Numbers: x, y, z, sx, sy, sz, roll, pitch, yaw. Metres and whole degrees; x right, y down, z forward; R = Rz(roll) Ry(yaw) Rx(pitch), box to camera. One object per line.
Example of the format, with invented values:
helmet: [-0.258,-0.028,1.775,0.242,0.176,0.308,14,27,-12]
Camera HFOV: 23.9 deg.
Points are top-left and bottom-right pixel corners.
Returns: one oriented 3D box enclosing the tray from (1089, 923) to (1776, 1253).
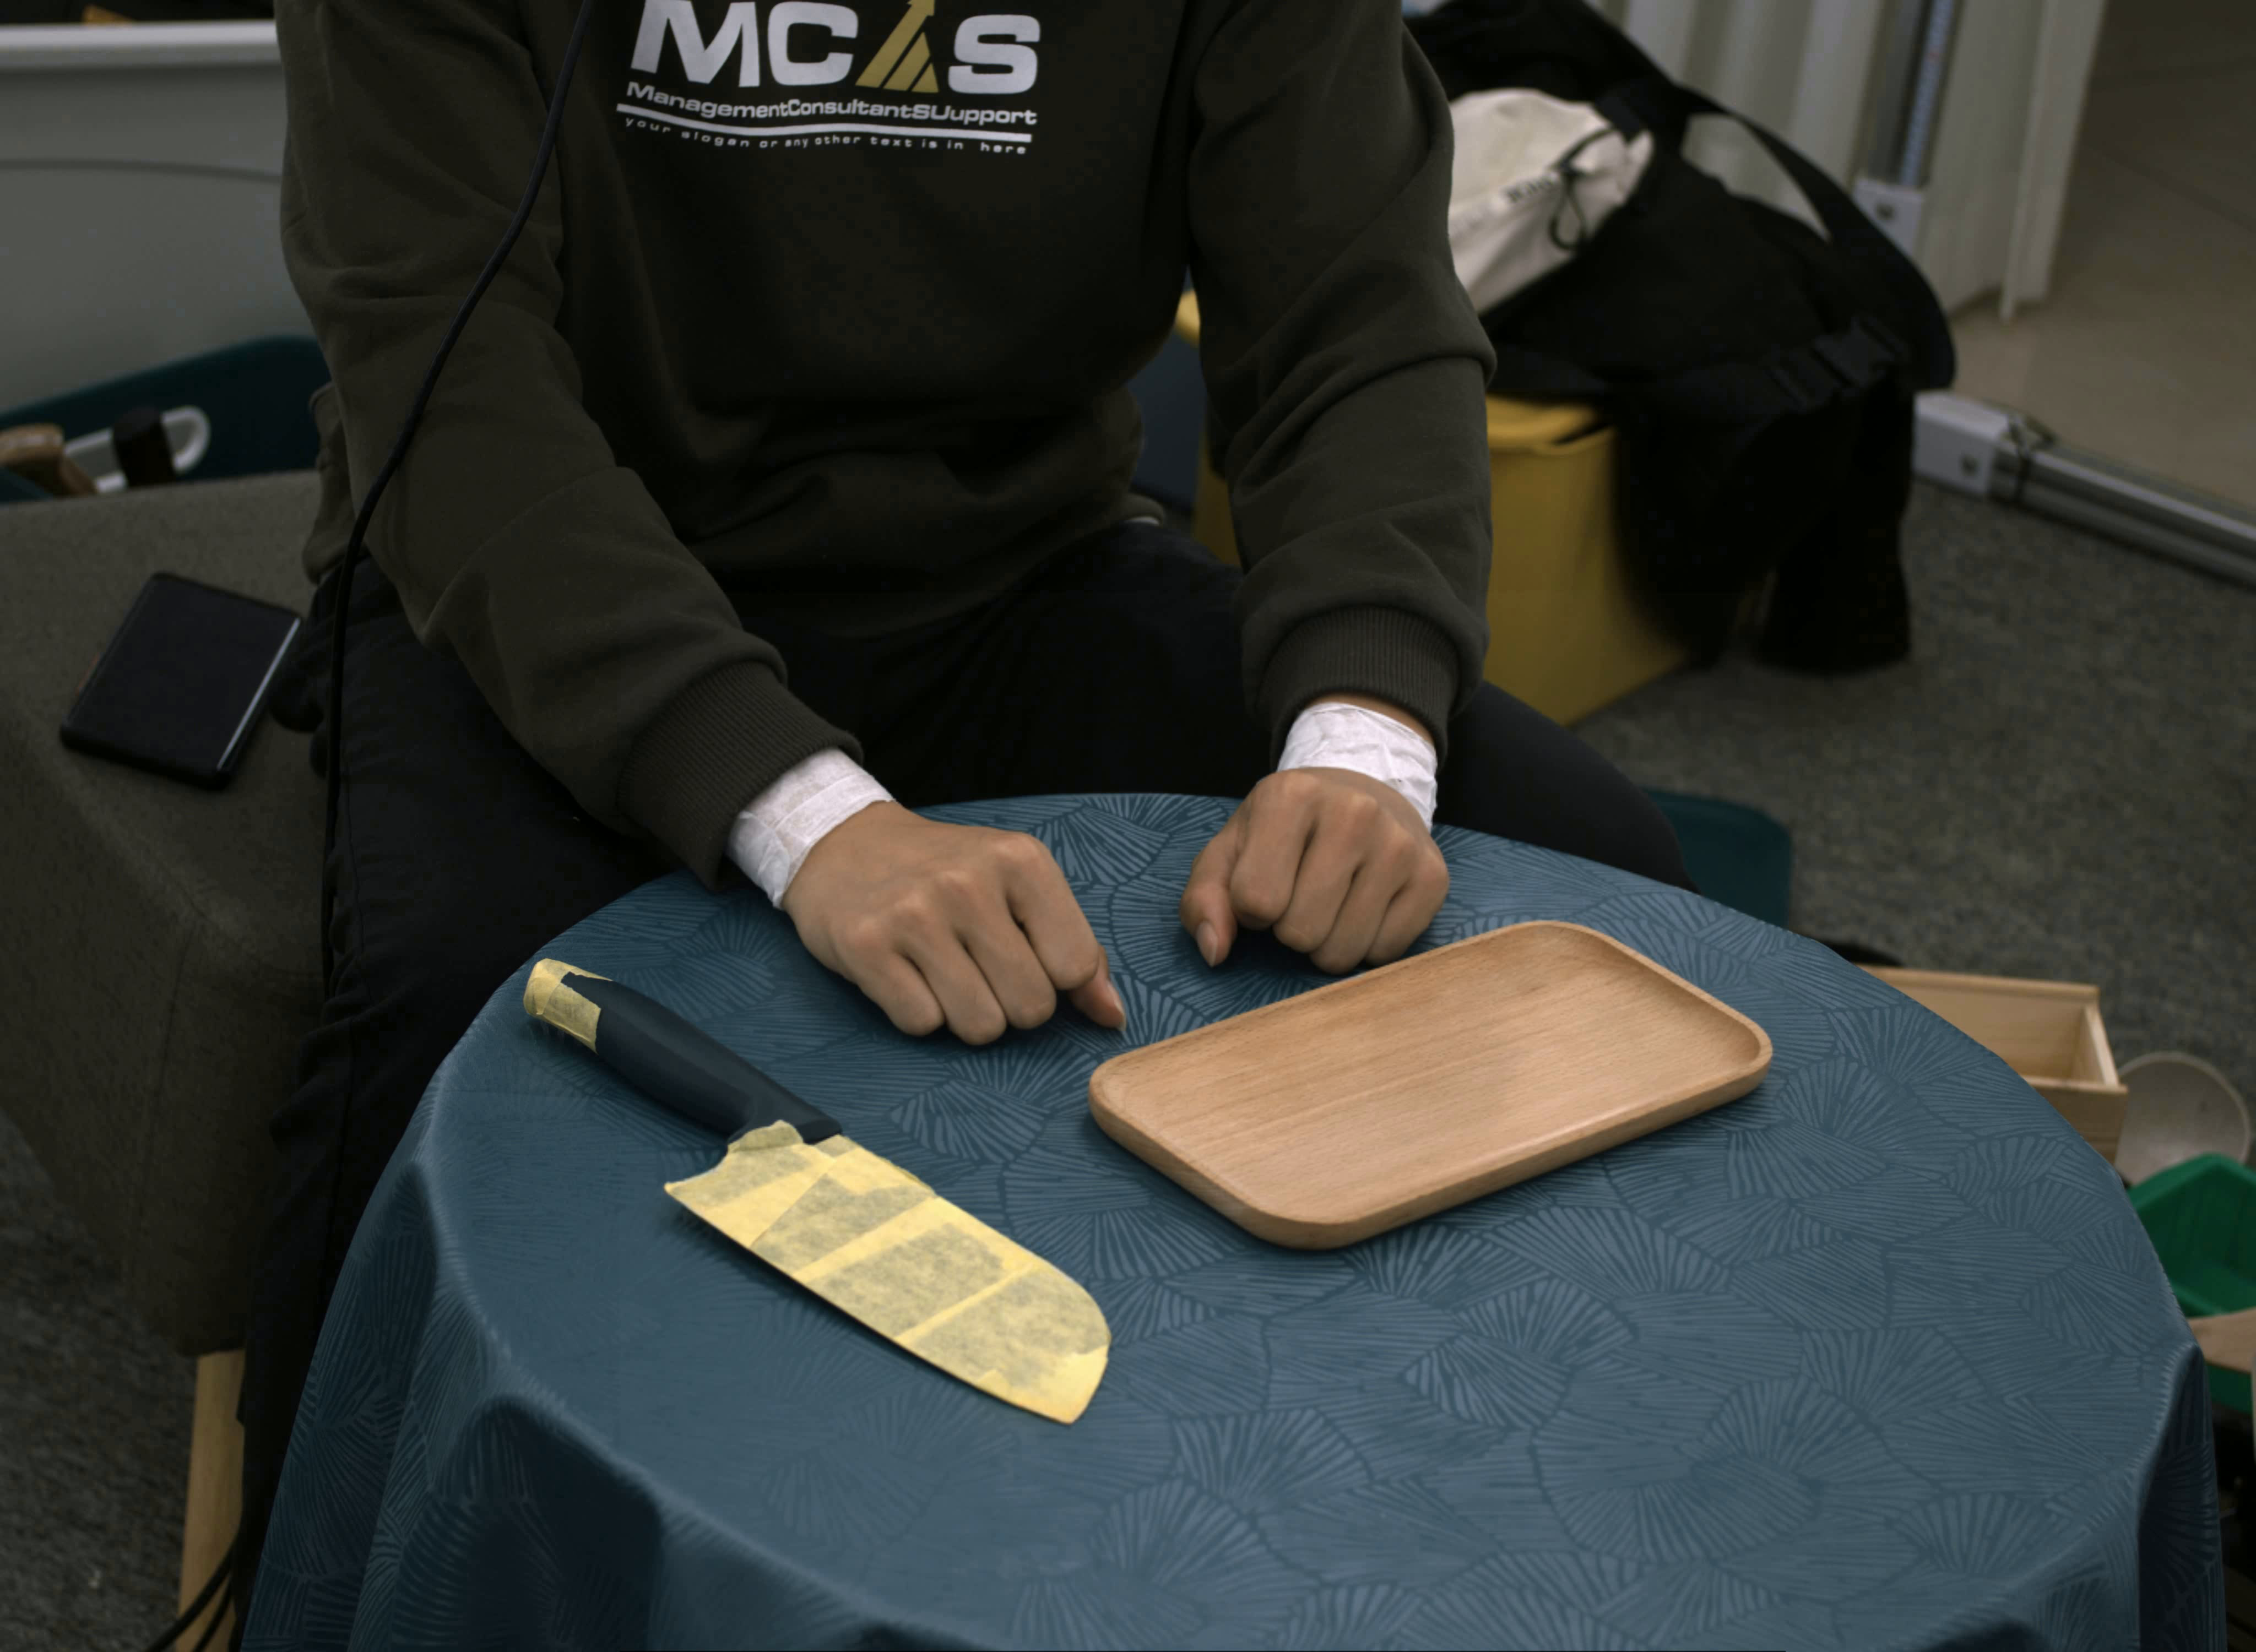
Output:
tray: [0.109,0.091,1.877,0.249,0.023,0.131,-17,32,-38]

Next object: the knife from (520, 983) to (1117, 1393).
knife: [-0.112,0.121,1.770,0.292,0.027,0.080,29,33,36]
